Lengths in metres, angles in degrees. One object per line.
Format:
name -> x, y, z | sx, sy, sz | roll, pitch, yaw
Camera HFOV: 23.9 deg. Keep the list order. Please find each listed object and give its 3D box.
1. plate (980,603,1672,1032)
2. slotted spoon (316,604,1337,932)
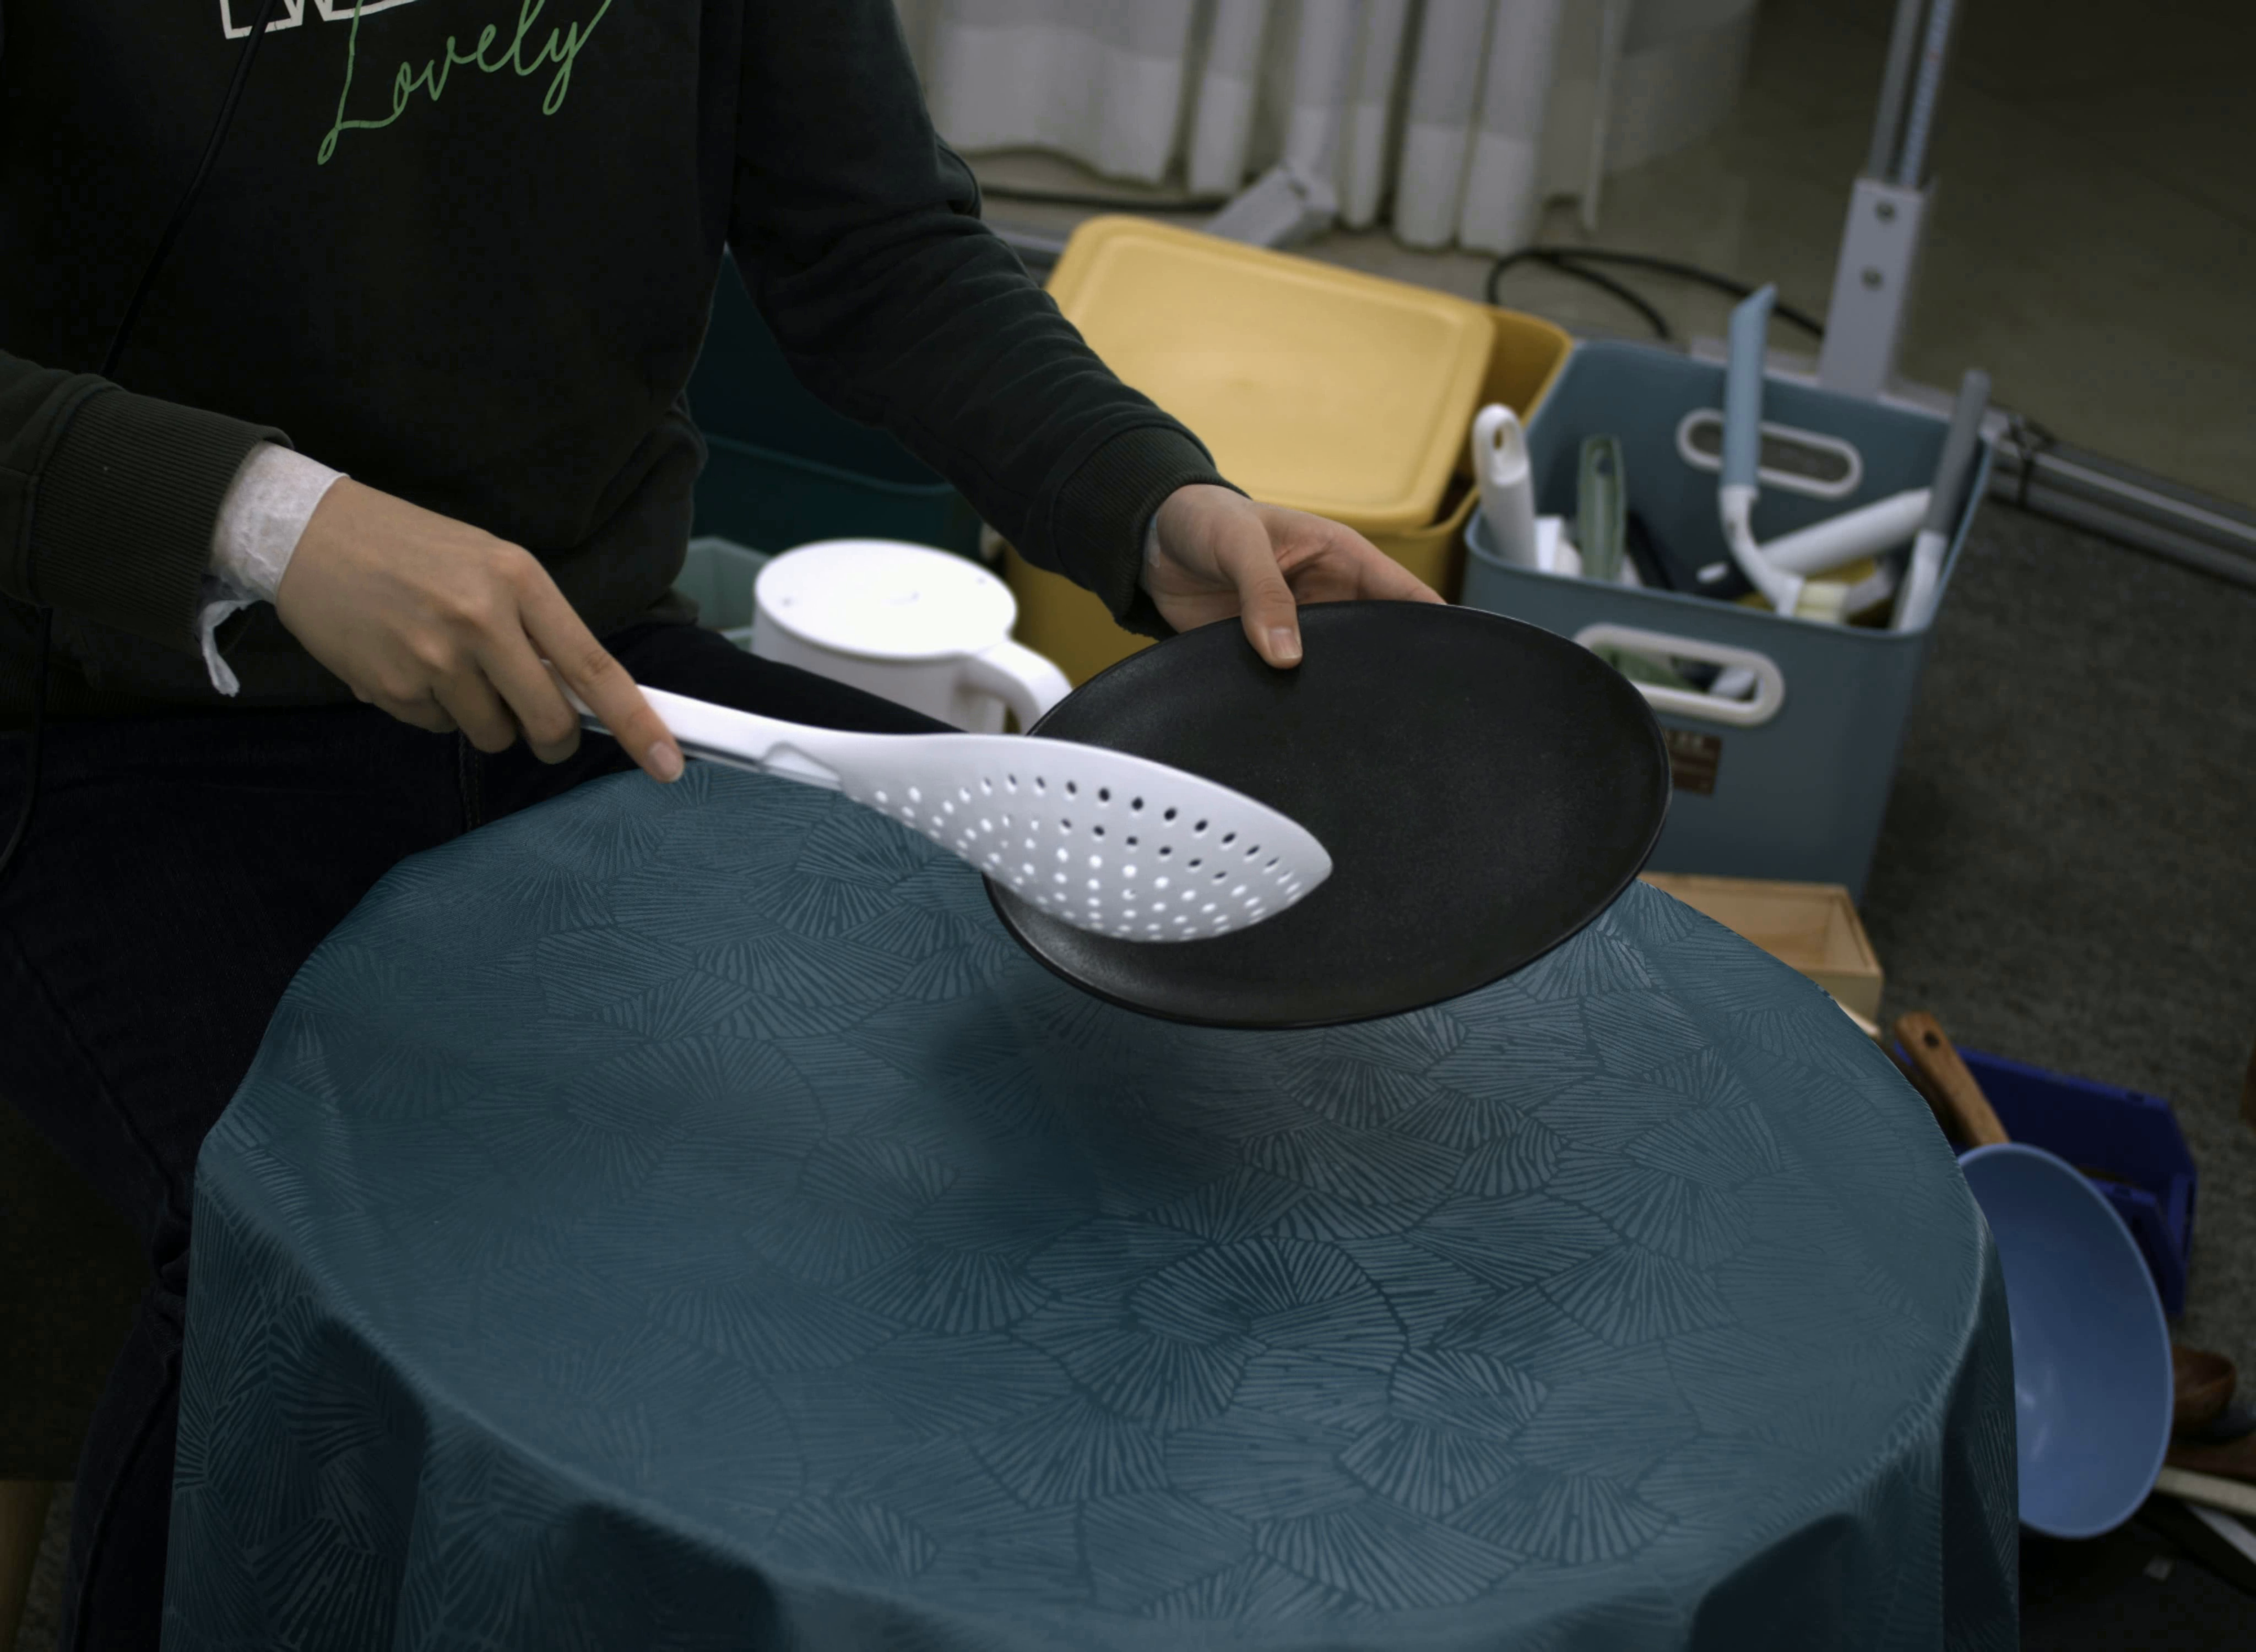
plate -> 0.069, 0.000, 1.854 | 0.244, 0.023, 0.246 | -7, 36, 5
slotted spoon -> -0.103, -0.026, 1.752 | 0.350, 0.046, 0.135 | 18, -16, 12
